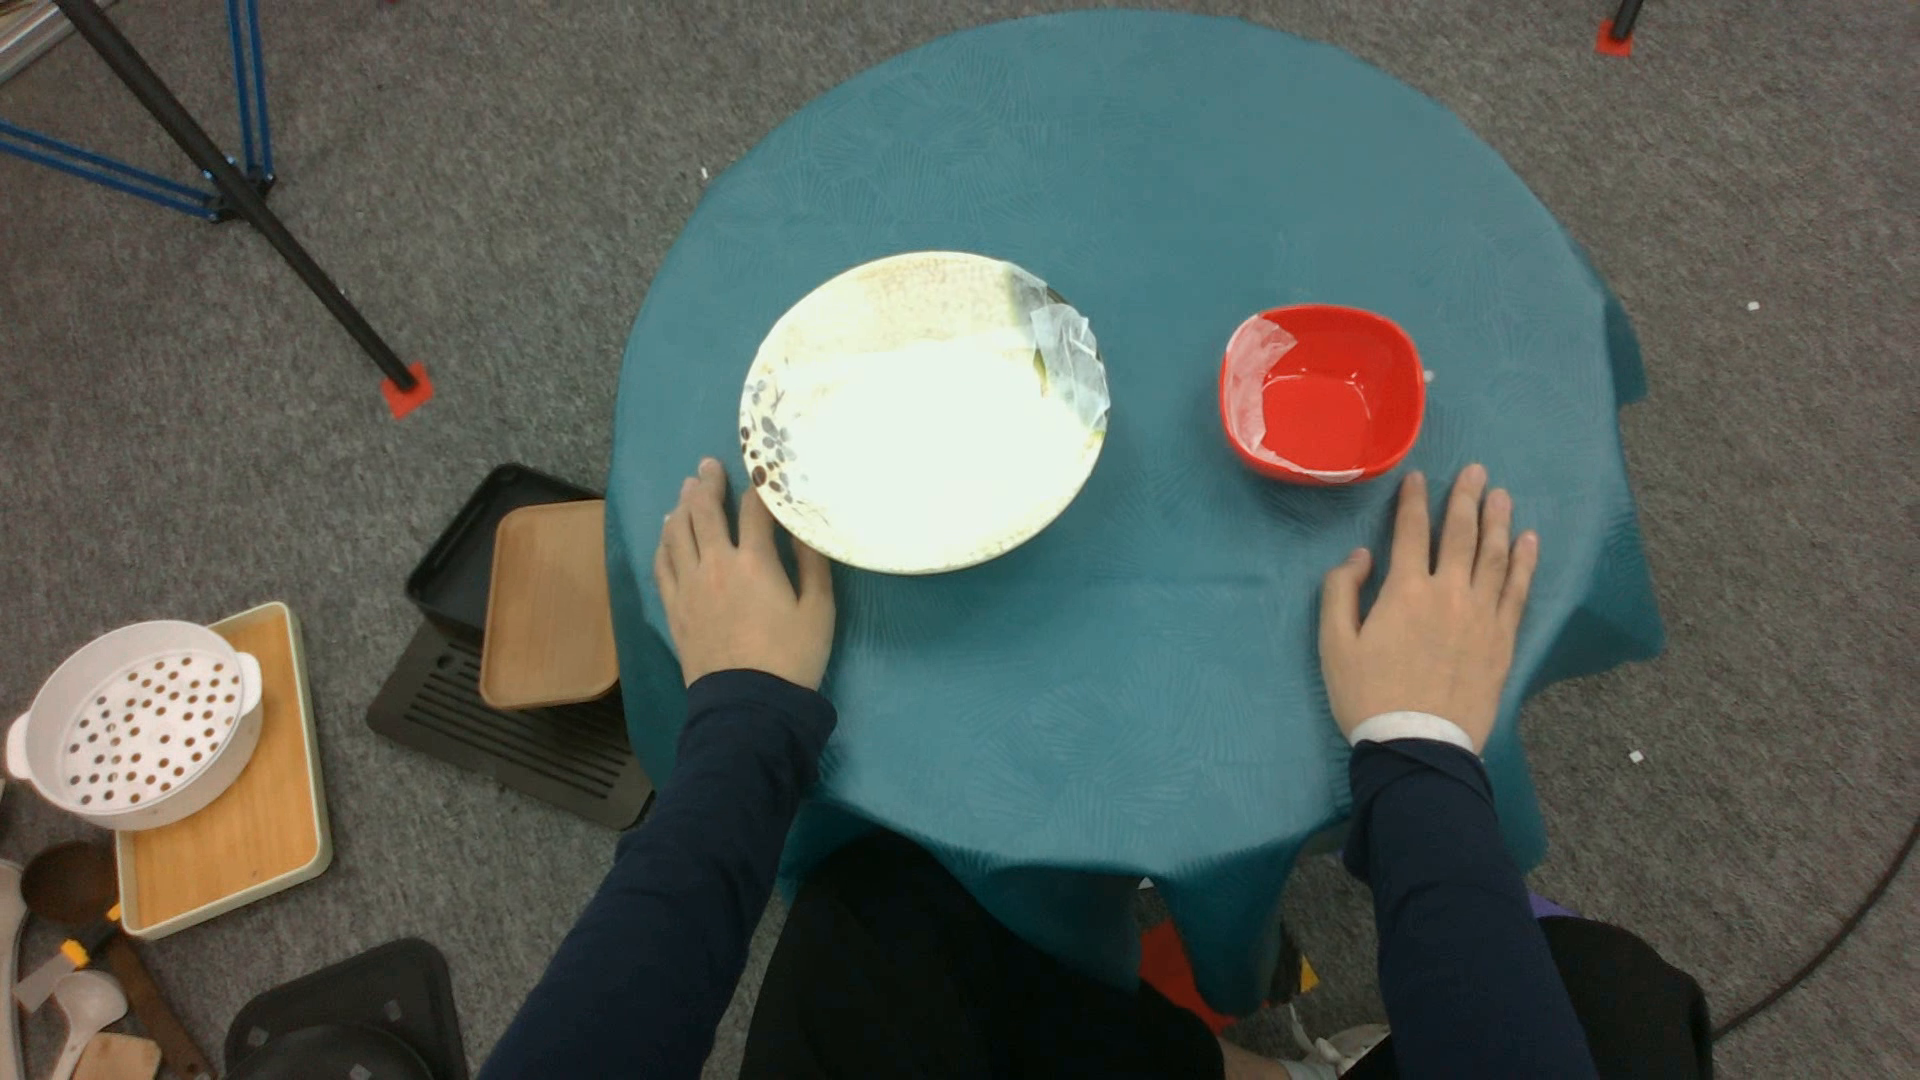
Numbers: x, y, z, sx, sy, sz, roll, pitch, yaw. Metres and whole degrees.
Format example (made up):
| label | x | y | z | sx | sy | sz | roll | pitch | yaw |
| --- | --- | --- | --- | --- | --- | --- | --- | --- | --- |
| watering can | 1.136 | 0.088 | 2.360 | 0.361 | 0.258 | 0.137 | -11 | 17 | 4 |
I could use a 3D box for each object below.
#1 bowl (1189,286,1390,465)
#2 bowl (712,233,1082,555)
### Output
| label | x | y | z | sx | sy | sz | roll | pitch | yaw |
| --- | --- | --- | --- | --- | --- | --- | --- | --- | --- |
| bowl | 0.184 | -0.085 | 0.785 | 0.119 | 0.051 | 0.119 | -1 | 64 | 3 |
| bowl | -0.032 | -0.070 | 0.782 | 0.204 | 0.077 | 0.205 | -2 | 65 | 5 |
